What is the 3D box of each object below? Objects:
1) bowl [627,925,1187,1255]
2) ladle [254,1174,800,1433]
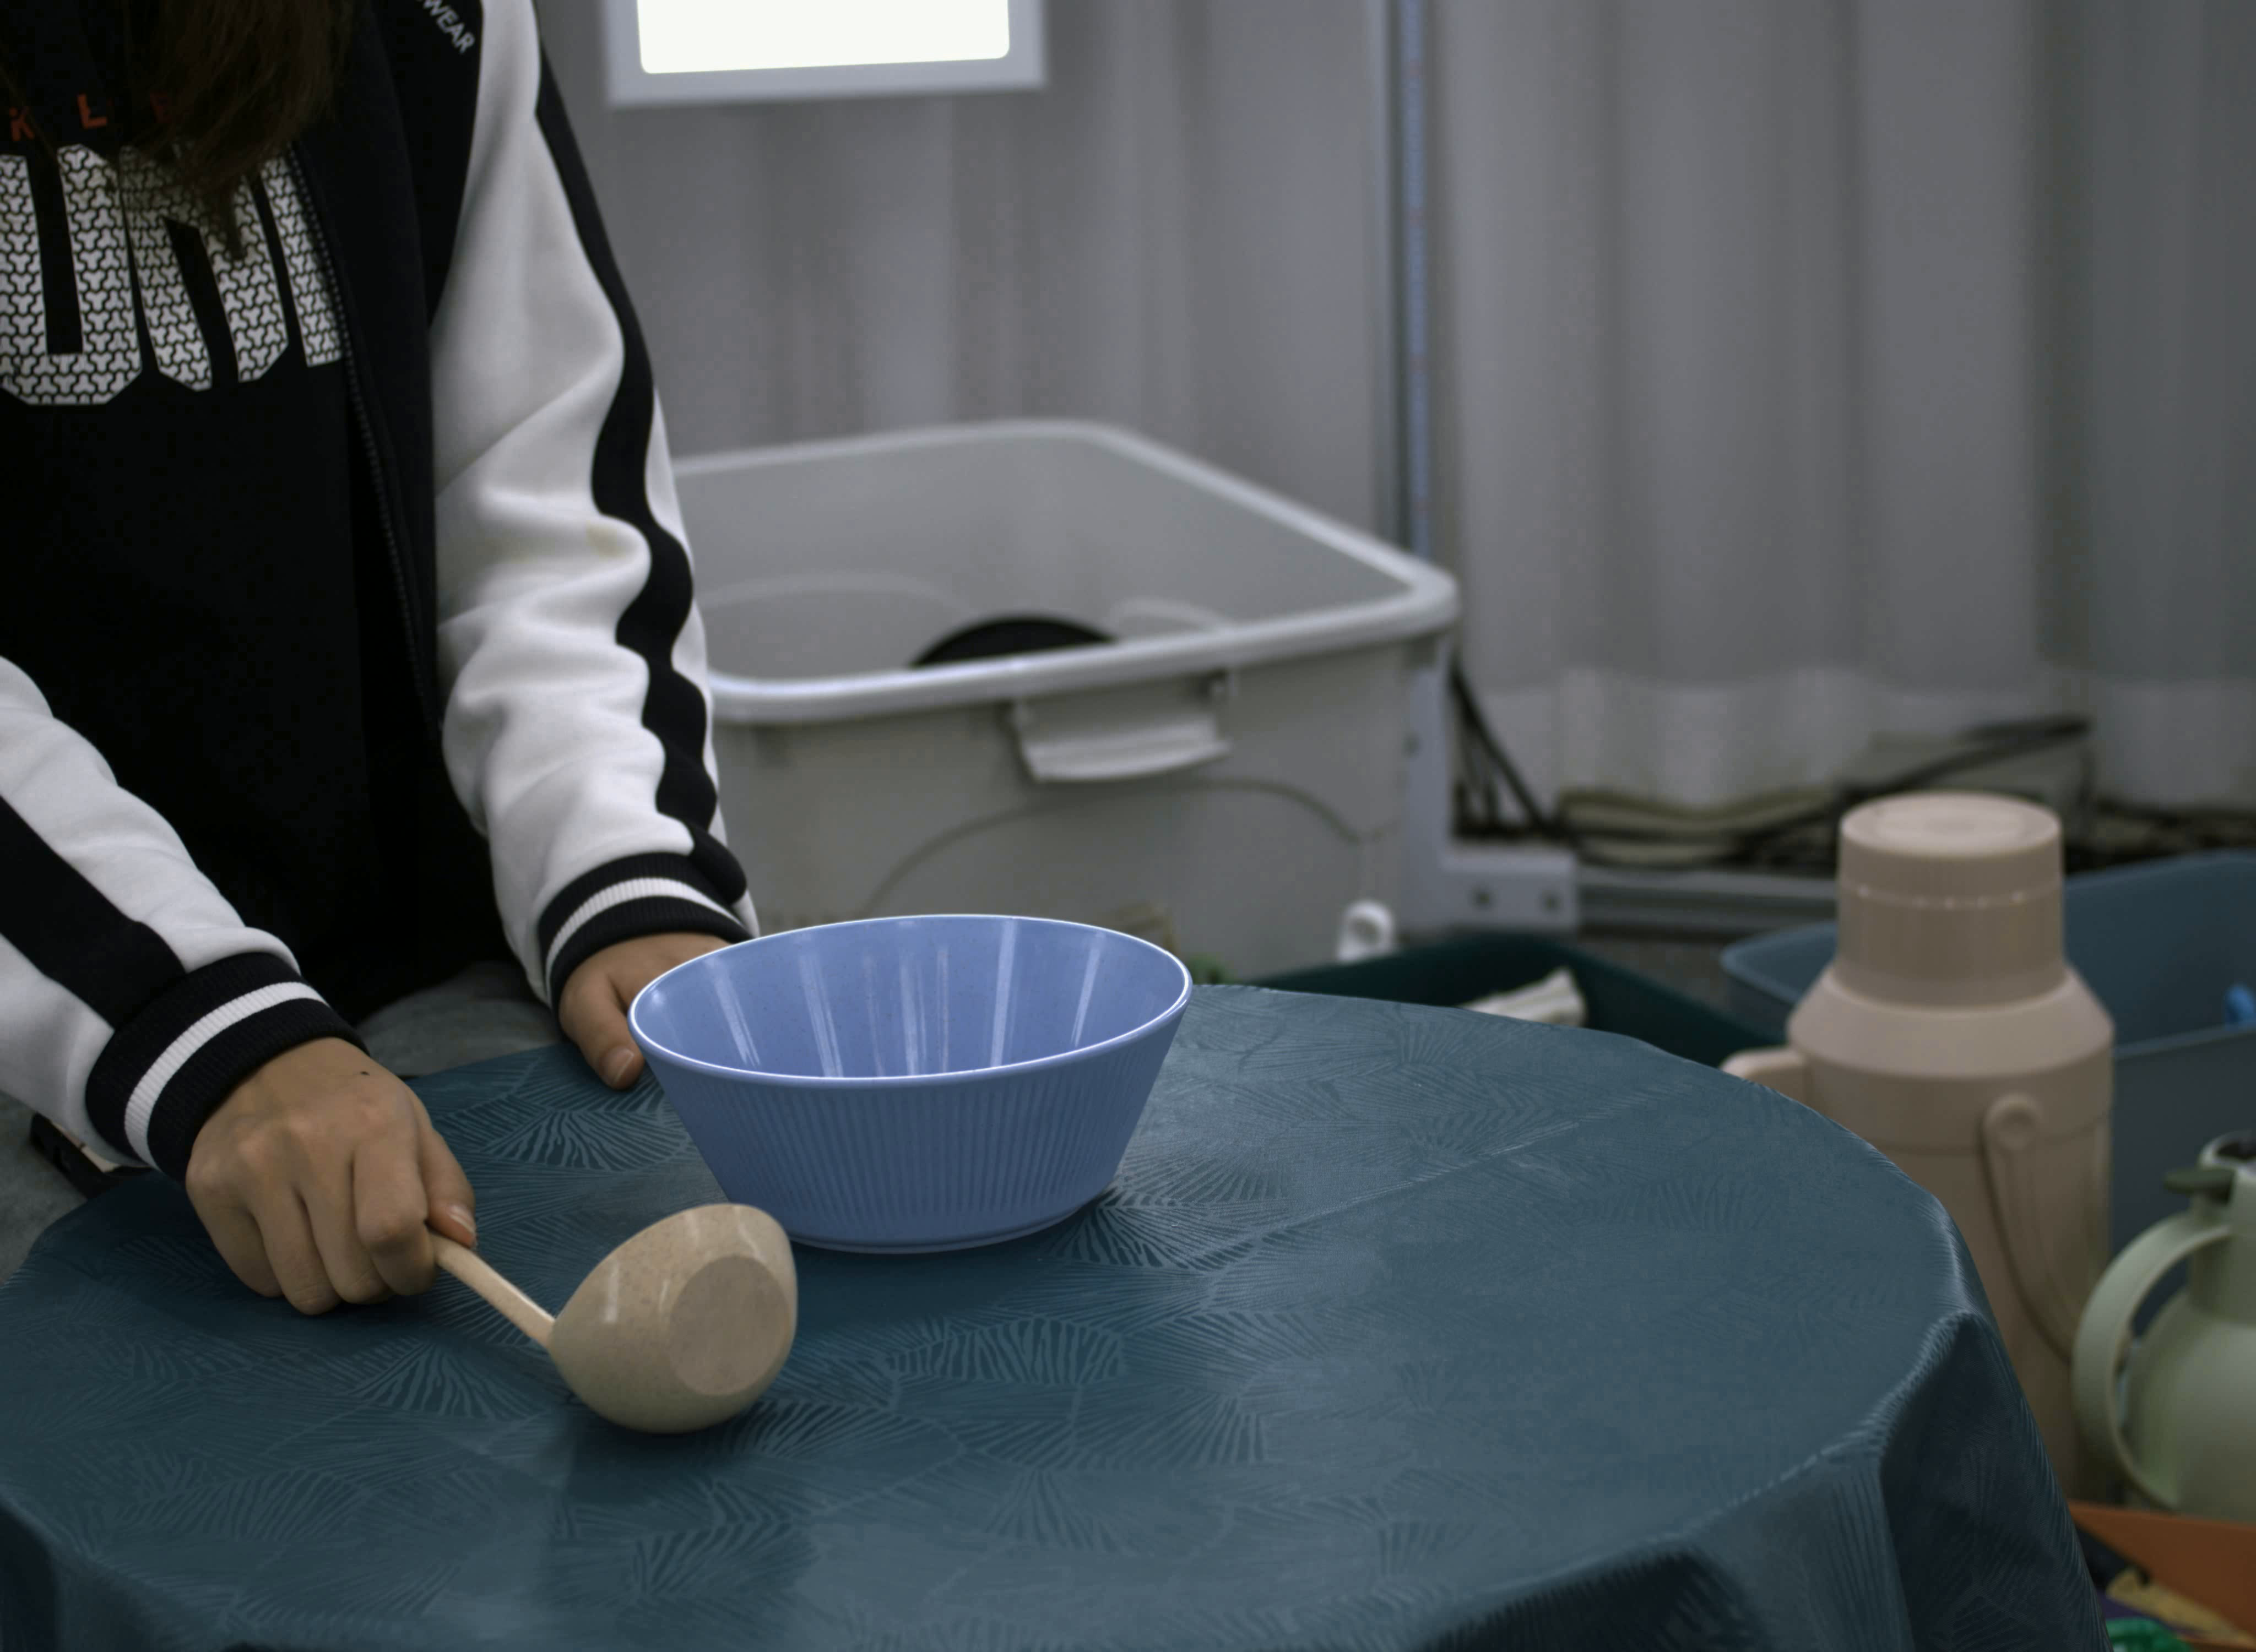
[{"bbox_3d":[-0.068,0.085,1.709,0.175,0.070,0.177,-2,14,0],"label":"bowl"},{"bbox_3d":[-0.185,0.110,1.599,0.071,0.072,0.256,0,14,-38],"label":"ladle"}]
